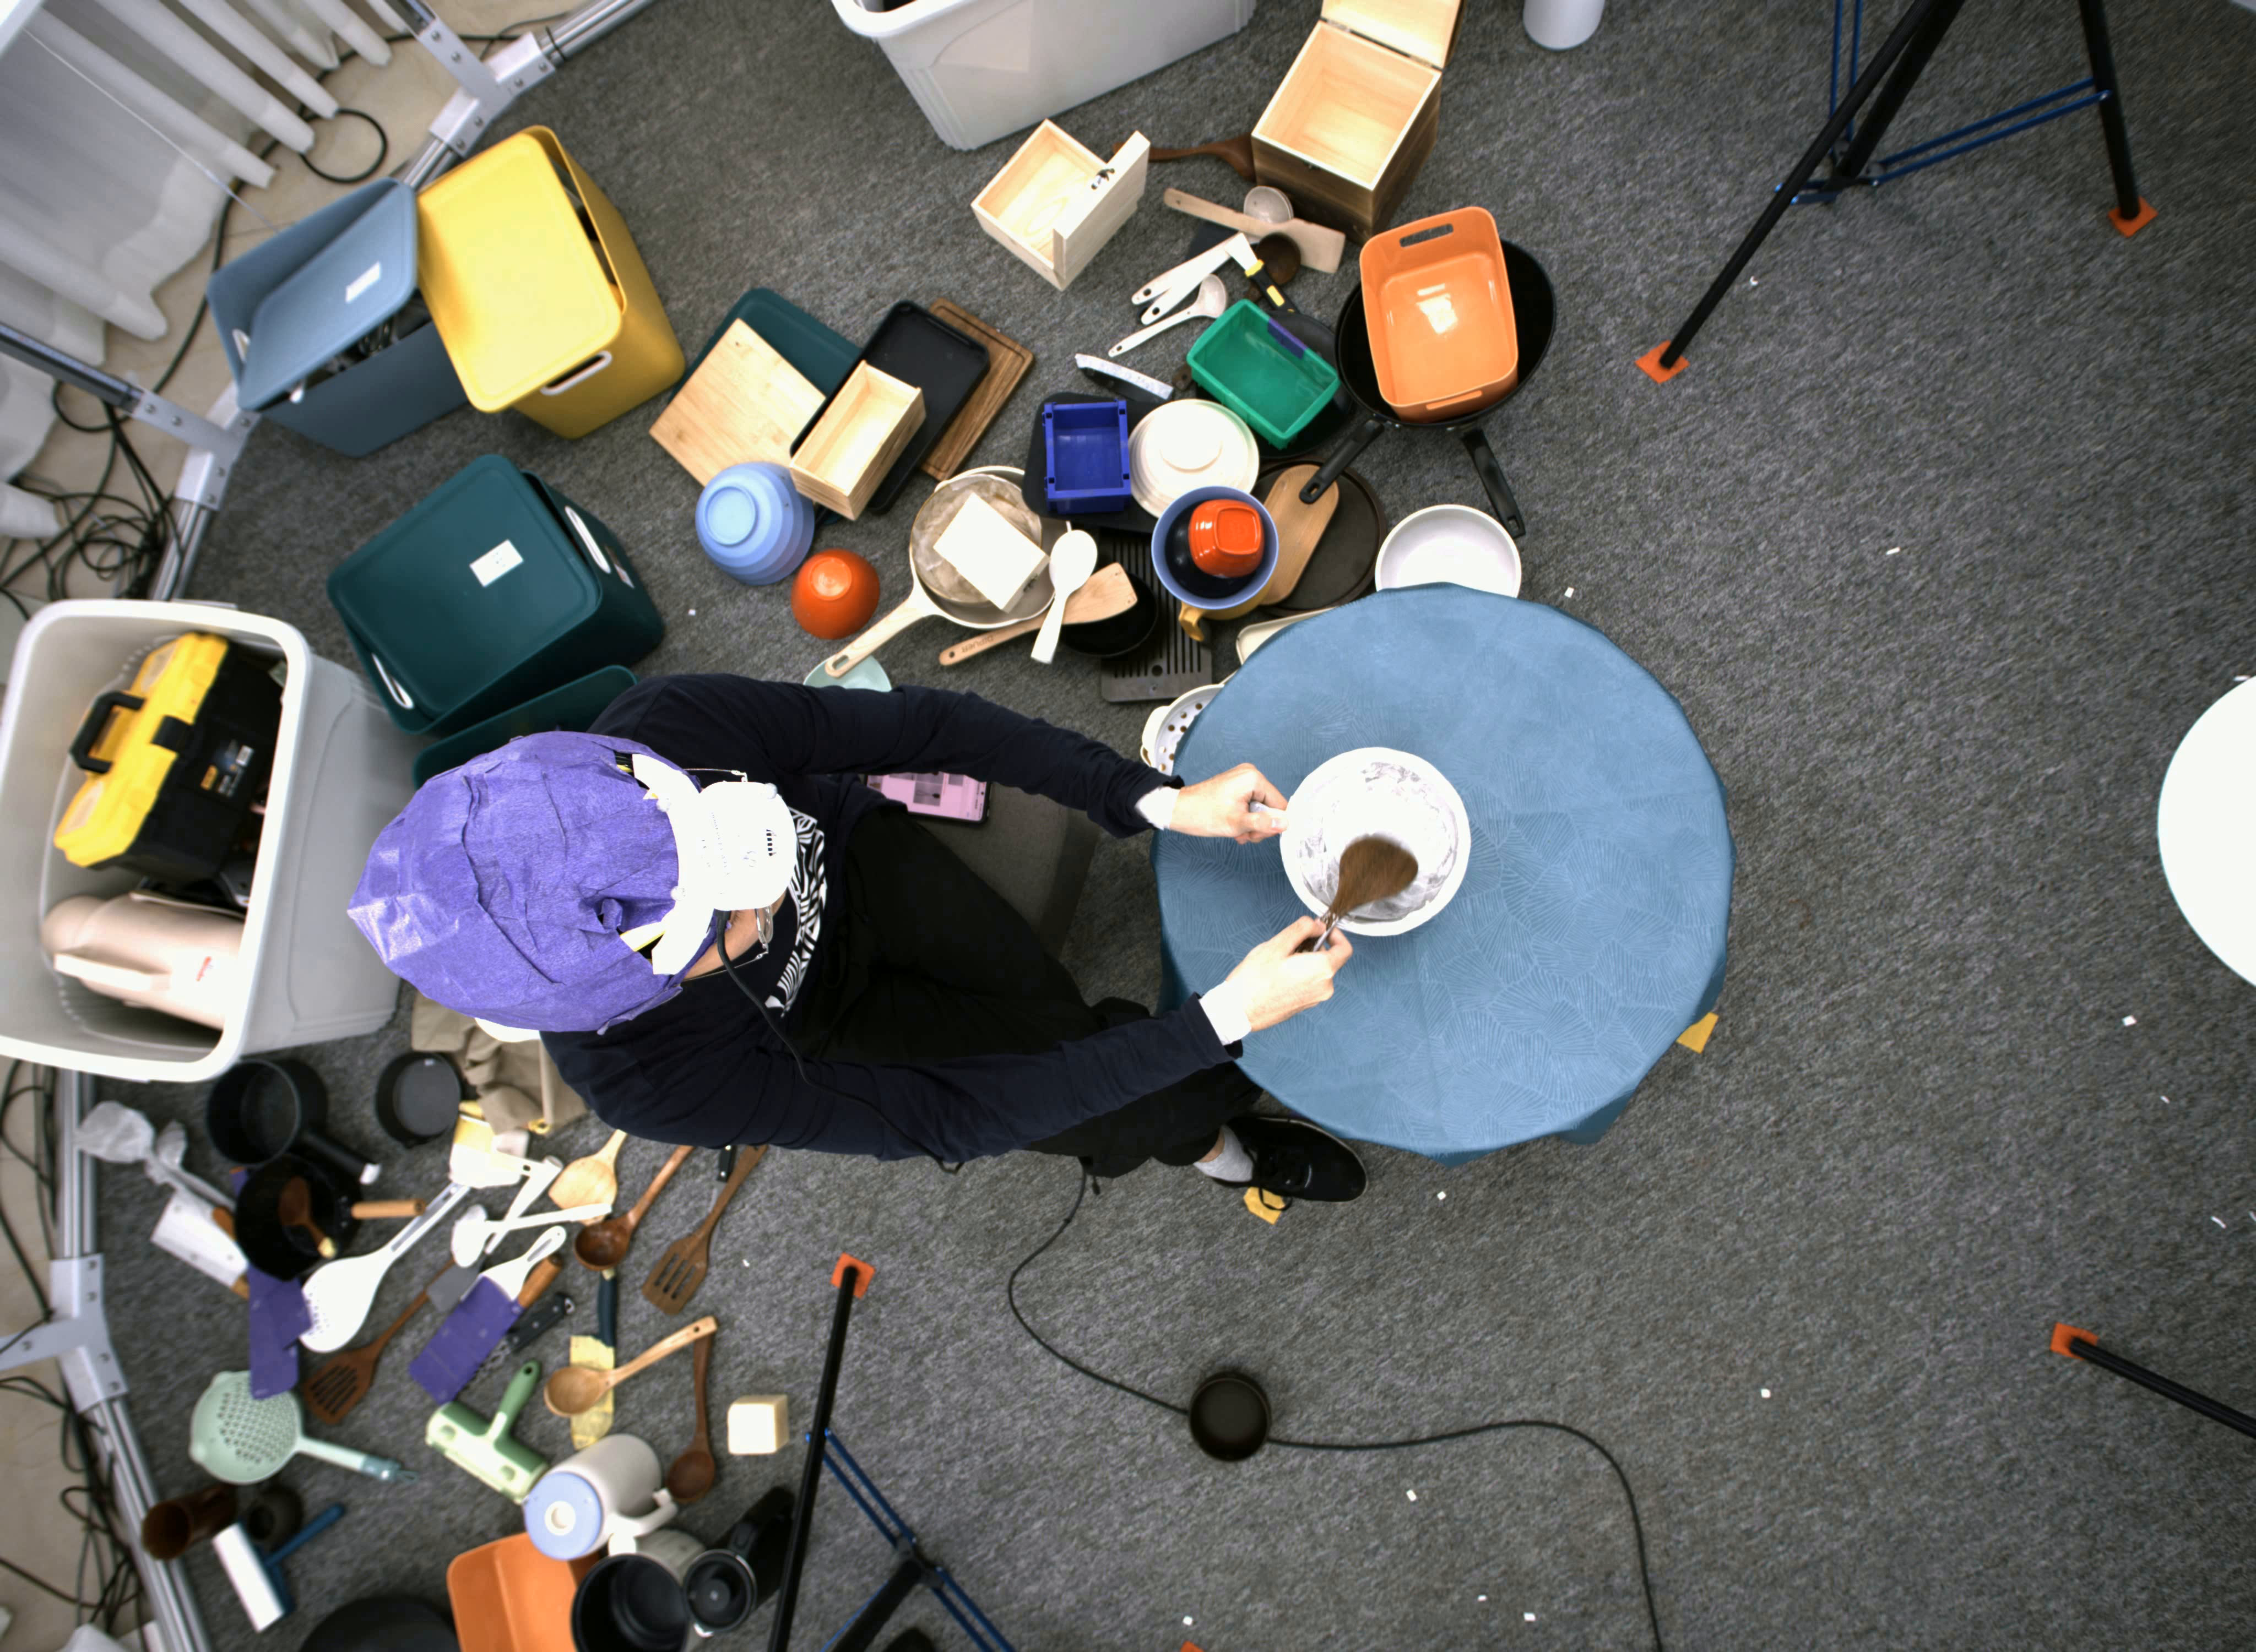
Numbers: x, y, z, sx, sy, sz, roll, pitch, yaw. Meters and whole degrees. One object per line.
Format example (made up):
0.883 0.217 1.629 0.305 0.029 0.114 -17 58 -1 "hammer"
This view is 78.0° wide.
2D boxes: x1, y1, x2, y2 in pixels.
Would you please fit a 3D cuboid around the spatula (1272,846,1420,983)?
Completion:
0.198 0.081 1.295 0.071 0.009 0.211 32 52 26 "spatula"

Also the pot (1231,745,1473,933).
0.215 0.009 1.361 0.234 0.136 0.179 10 91 8 "pot"
